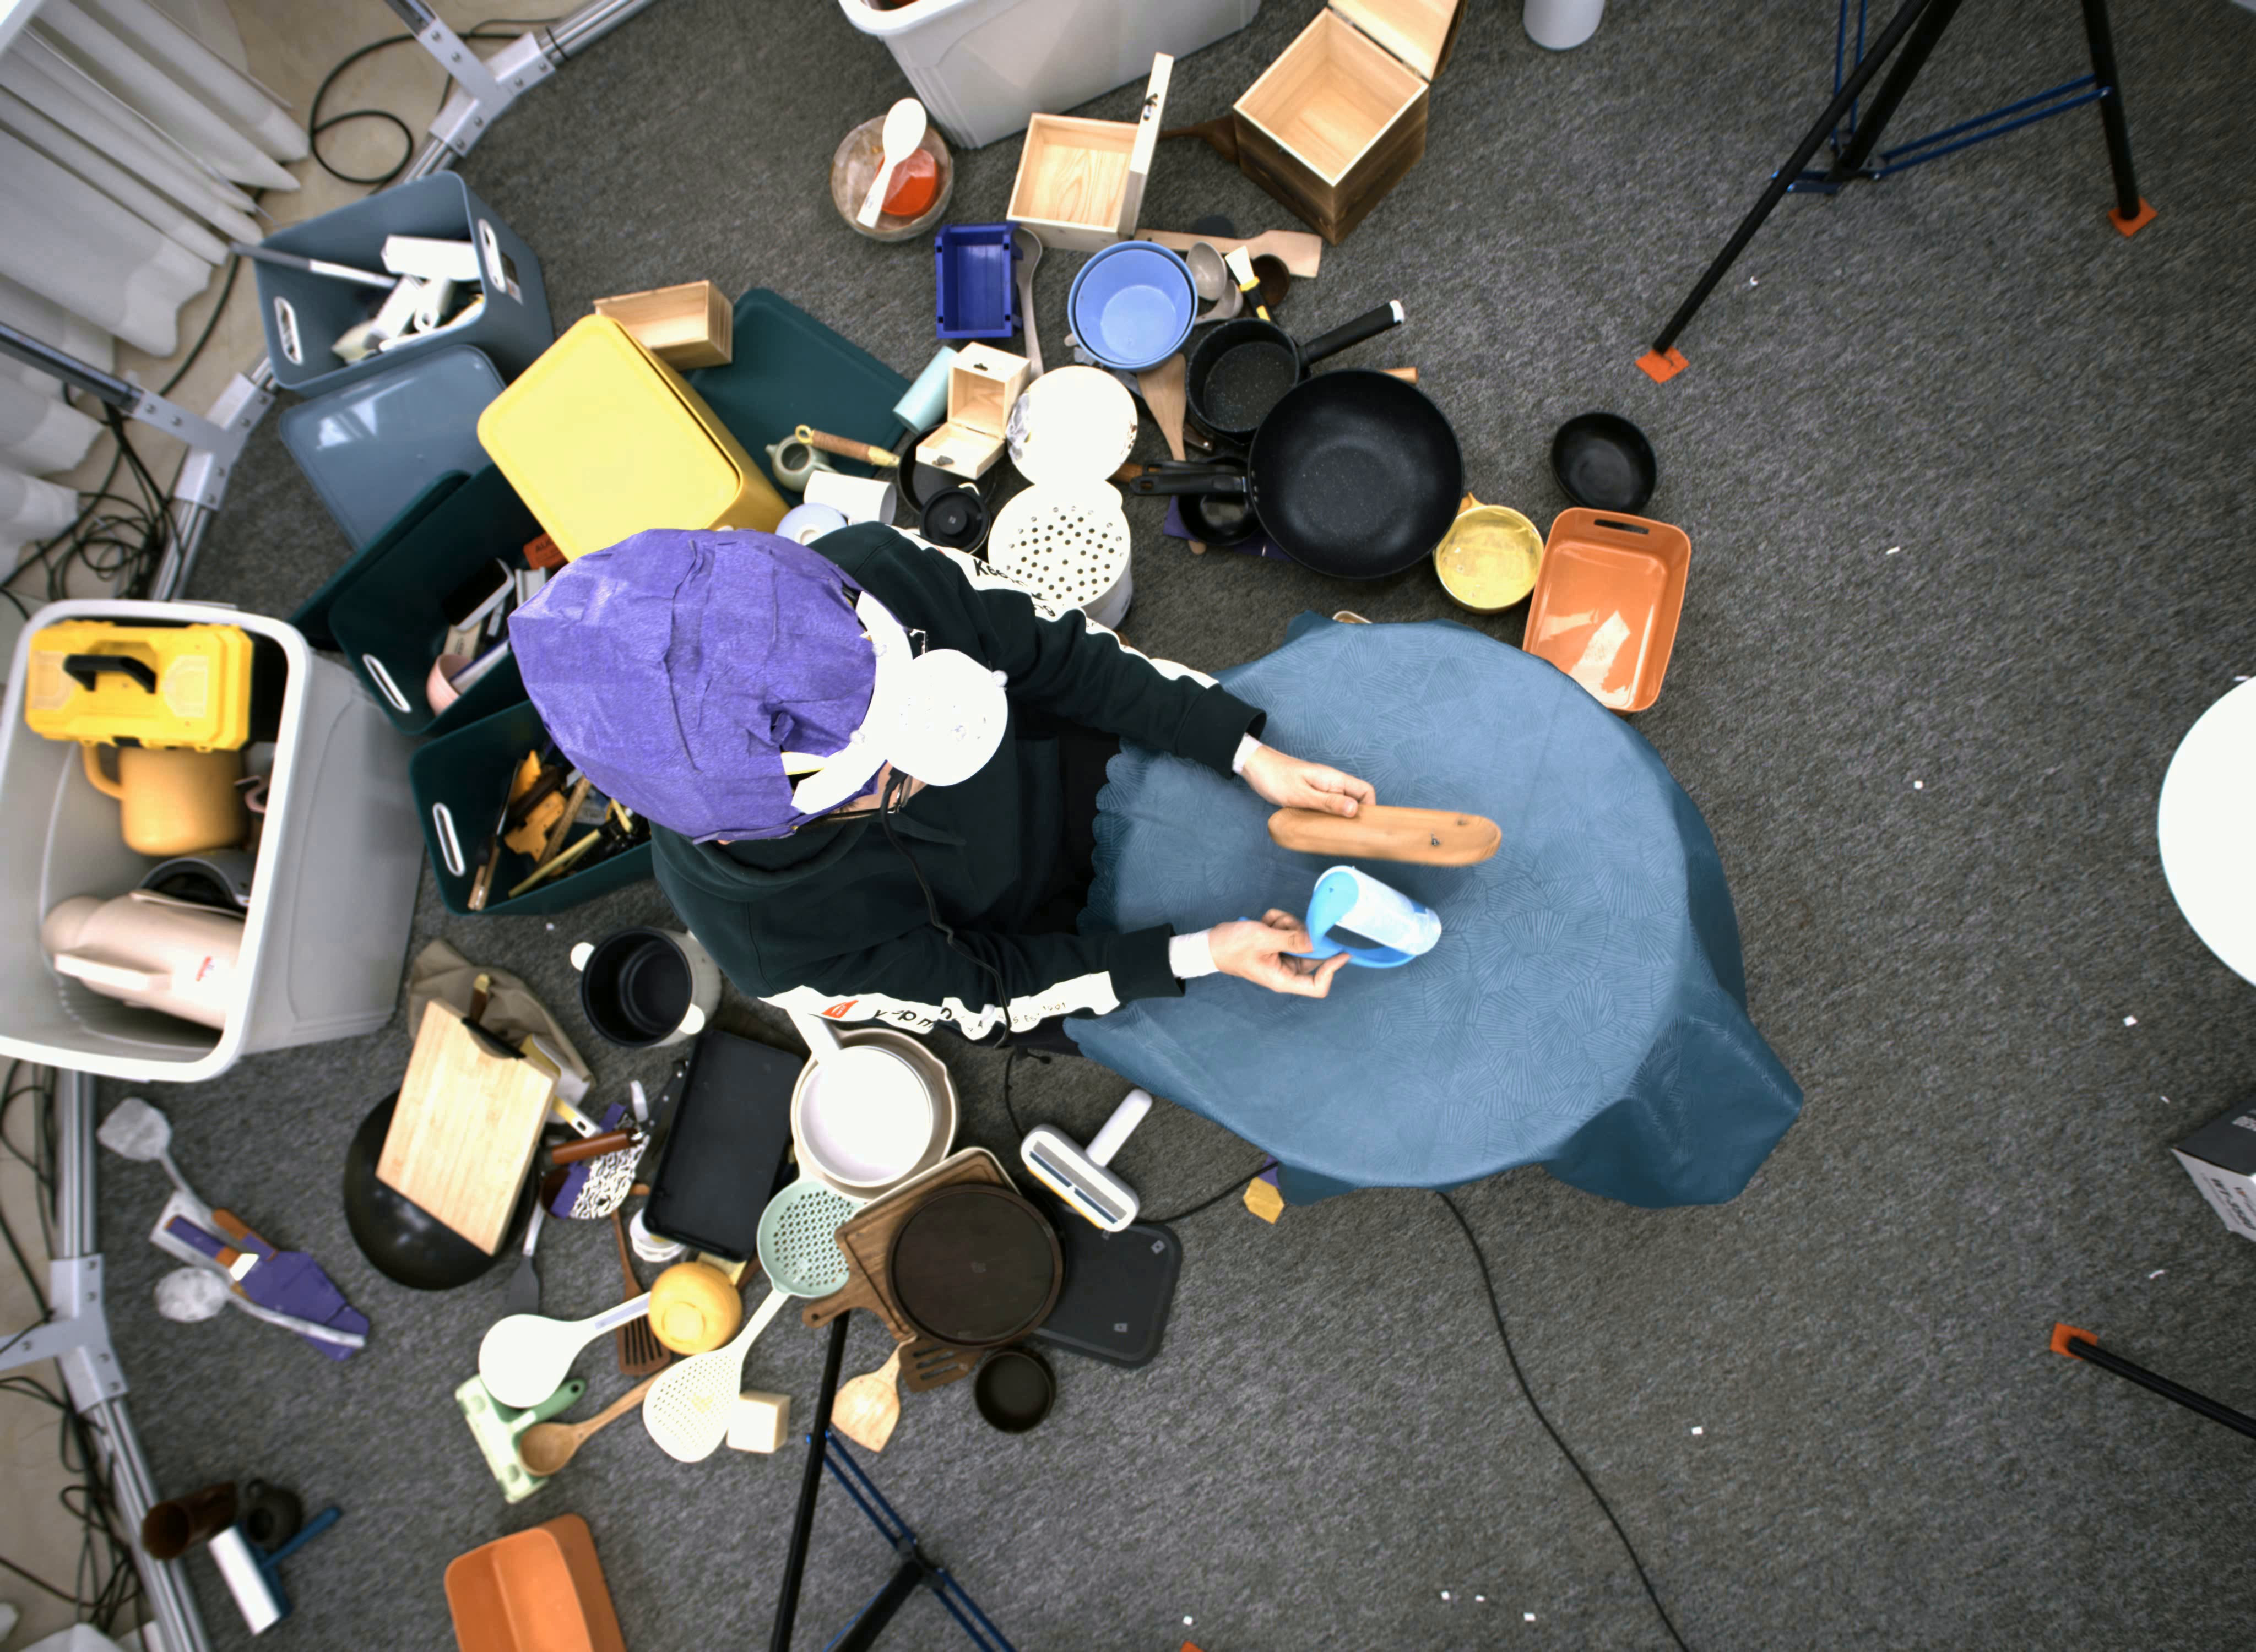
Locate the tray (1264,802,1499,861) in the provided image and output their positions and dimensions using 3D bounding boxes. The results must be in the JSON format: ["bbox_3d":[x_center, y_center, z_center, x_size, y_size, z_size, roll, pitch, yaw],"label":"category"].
[{"bbox_3d":[0.247,0.004,1.355,0.232,0.099,0.020,3,112,23],"label":"tray"}]

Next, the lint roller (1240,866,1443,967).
[{"bbox_3d":[0.194,0.099,1.358,0.183,0.229,0.067,-17,69,32],"label":"lint roller"}]
